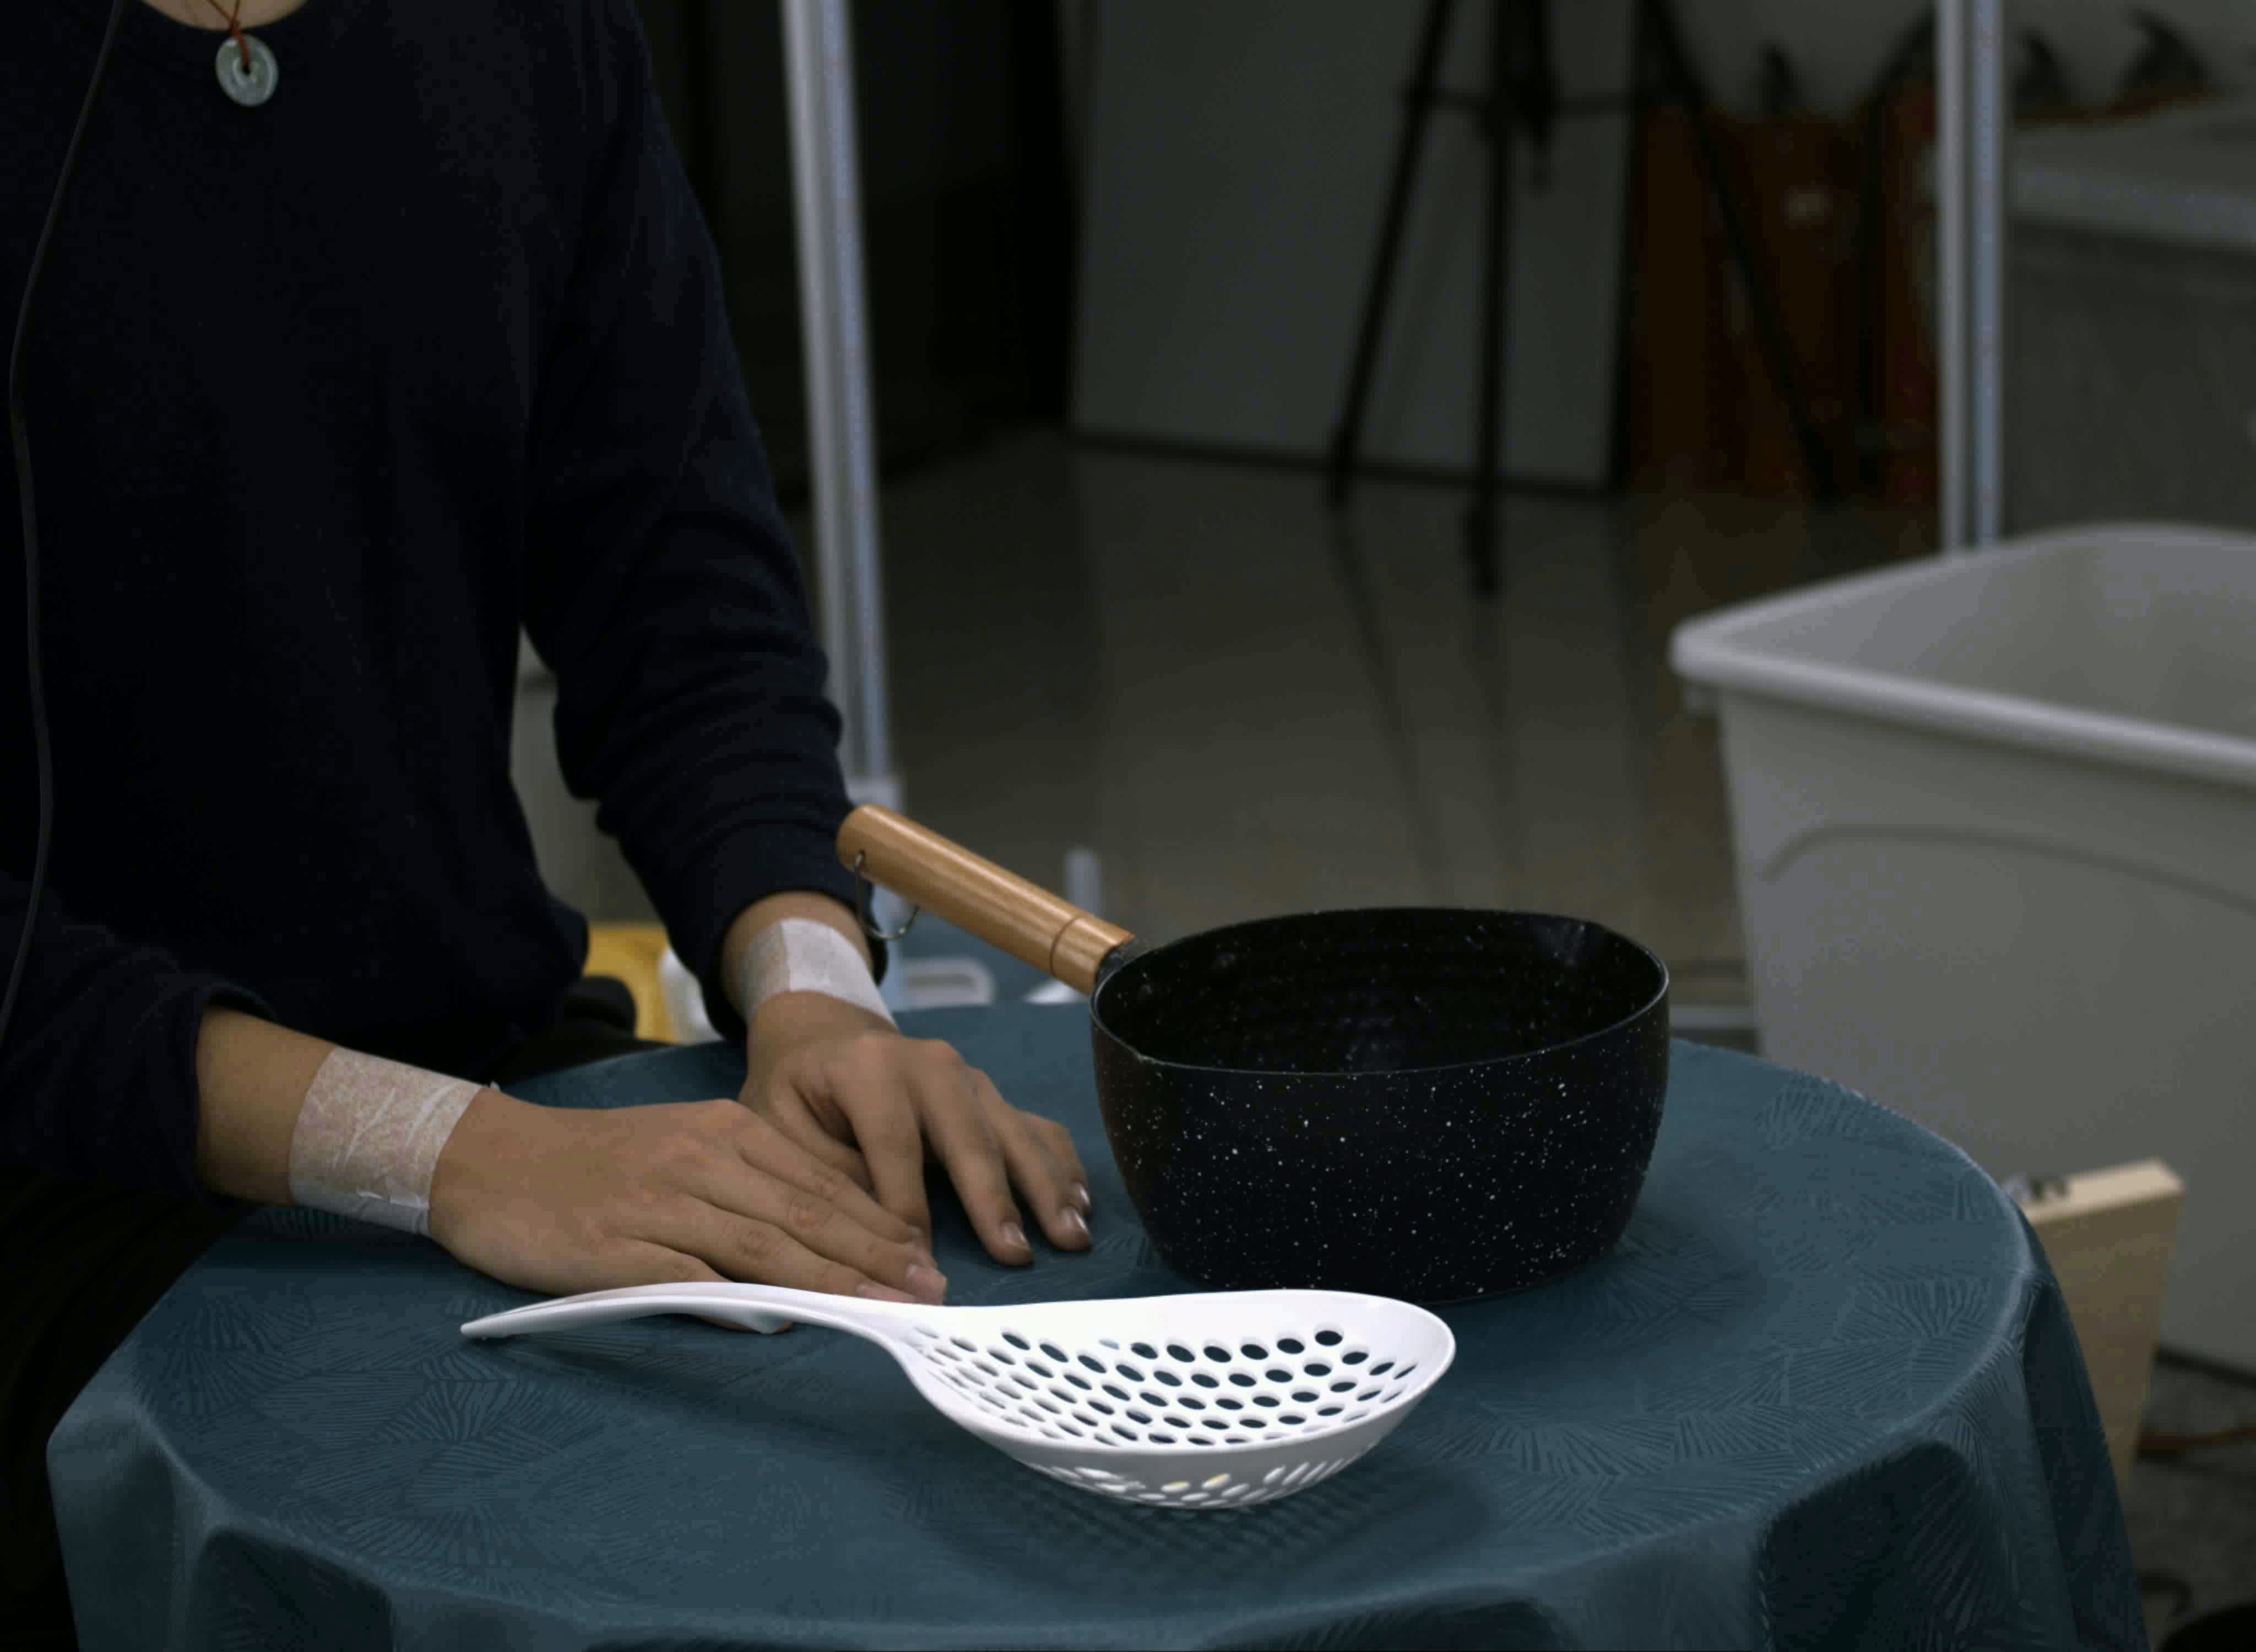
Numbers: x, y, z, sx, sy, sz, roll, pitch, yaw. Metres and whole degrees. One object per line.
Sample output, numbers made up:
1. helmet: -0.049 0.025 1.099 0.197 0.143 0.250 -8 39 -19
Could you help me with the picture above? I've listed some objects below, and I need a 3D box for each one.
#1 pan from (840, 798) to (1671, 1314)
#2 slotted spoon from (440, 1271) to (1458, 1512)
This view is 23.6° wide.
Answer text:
1. pan: 0.025 0.068 1.752 0.203 0.109 0.346 -18 20 -41
2. slotted spoon: -0.064 0.154 1.563 0.350 0.051 0.134 8 20 35
